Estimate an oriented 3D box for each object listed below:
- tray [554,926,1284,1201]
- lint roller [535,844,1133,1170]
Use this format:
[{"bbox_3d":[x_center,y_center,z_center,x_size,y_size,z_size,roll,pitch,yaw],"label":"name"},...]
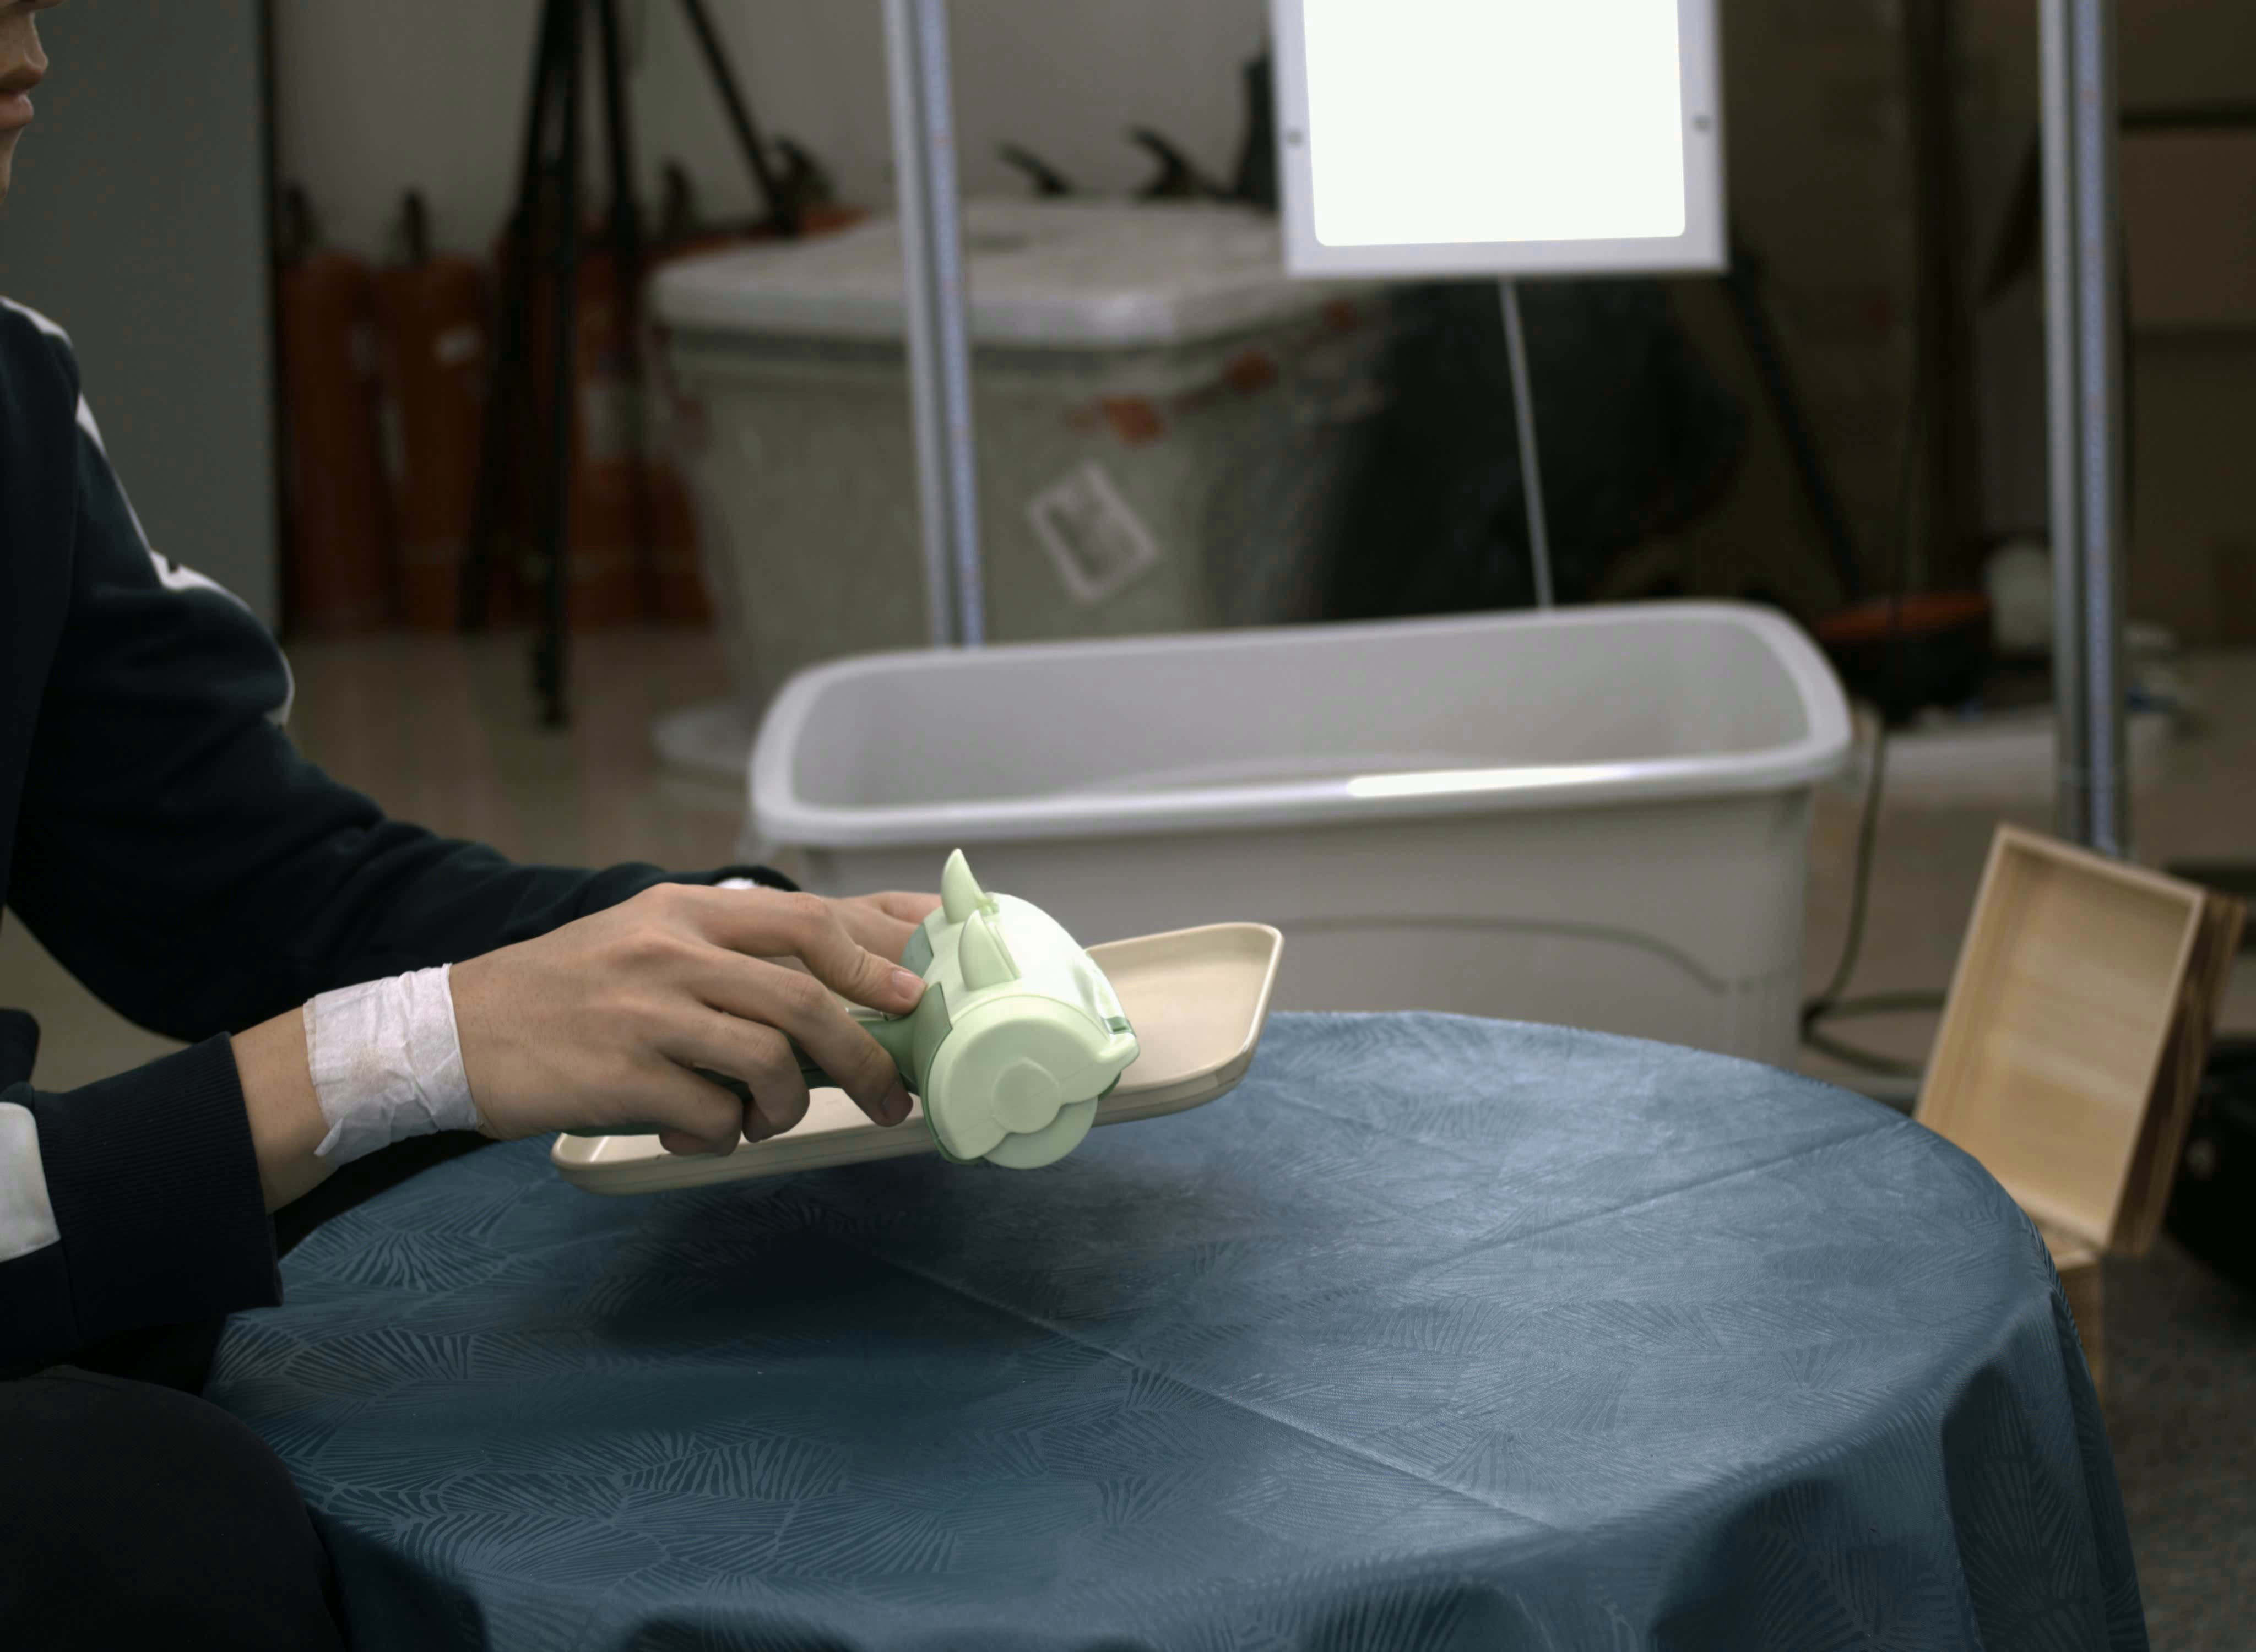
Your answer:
[{"bbox_3d":[-0.066,0.081,1.853,0.241,0.017,0.170,-10,14,11],"label":"tray"},{"bbox_3d":[-0.096,0.056,1.742,0.182,0.082,0.199,0,10,-3],"label":"lint roller"}]
